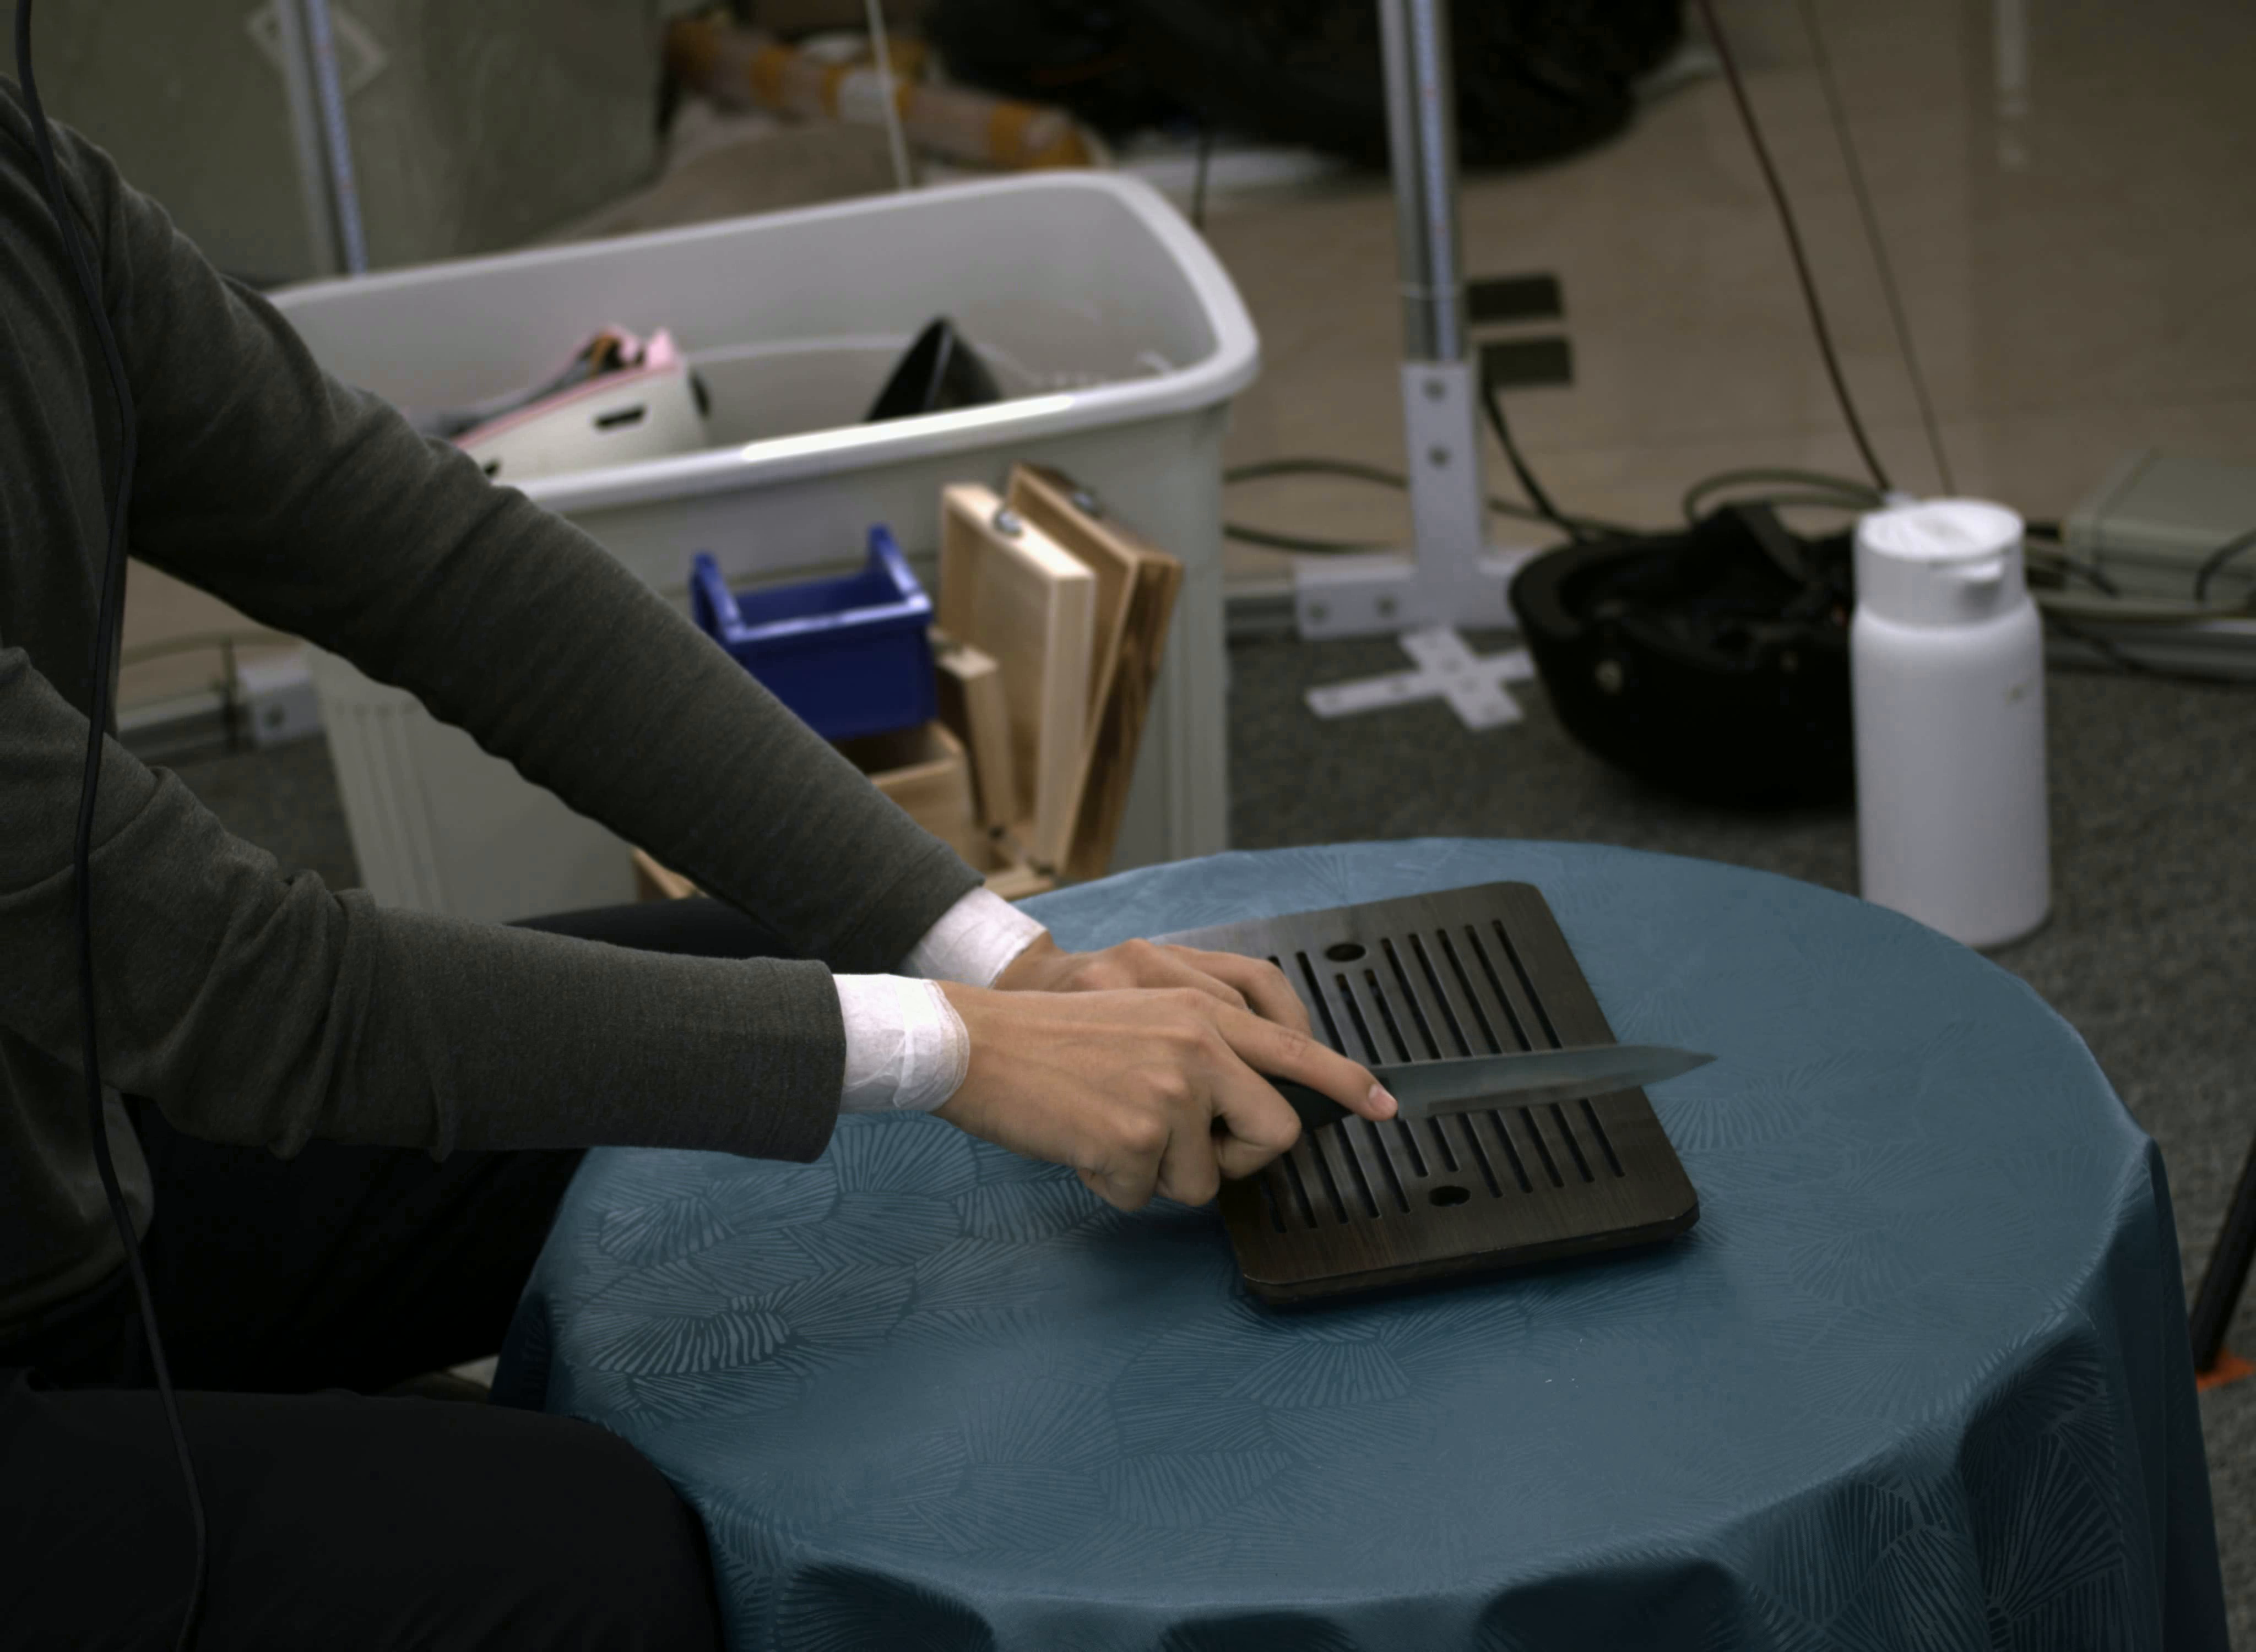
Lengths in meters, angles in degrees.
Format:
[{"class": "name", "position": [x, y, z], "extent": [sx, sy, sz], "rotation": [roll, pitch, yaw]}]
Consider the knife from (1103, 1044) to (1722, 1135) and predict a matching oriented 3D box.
[{"class": "knife", "position": [0.107, 0.095, 2.116], "extent": [0.238, 0.025, 0.016], "rotation": [-4, 14, -10]}]

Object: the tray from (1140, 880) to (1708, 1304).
[{"class": "tray", "position": [0.108, 0.100, 2.187], "extent": [0.170, 0.019, 0.301], "rotation": [-9, 25, -5]}]
